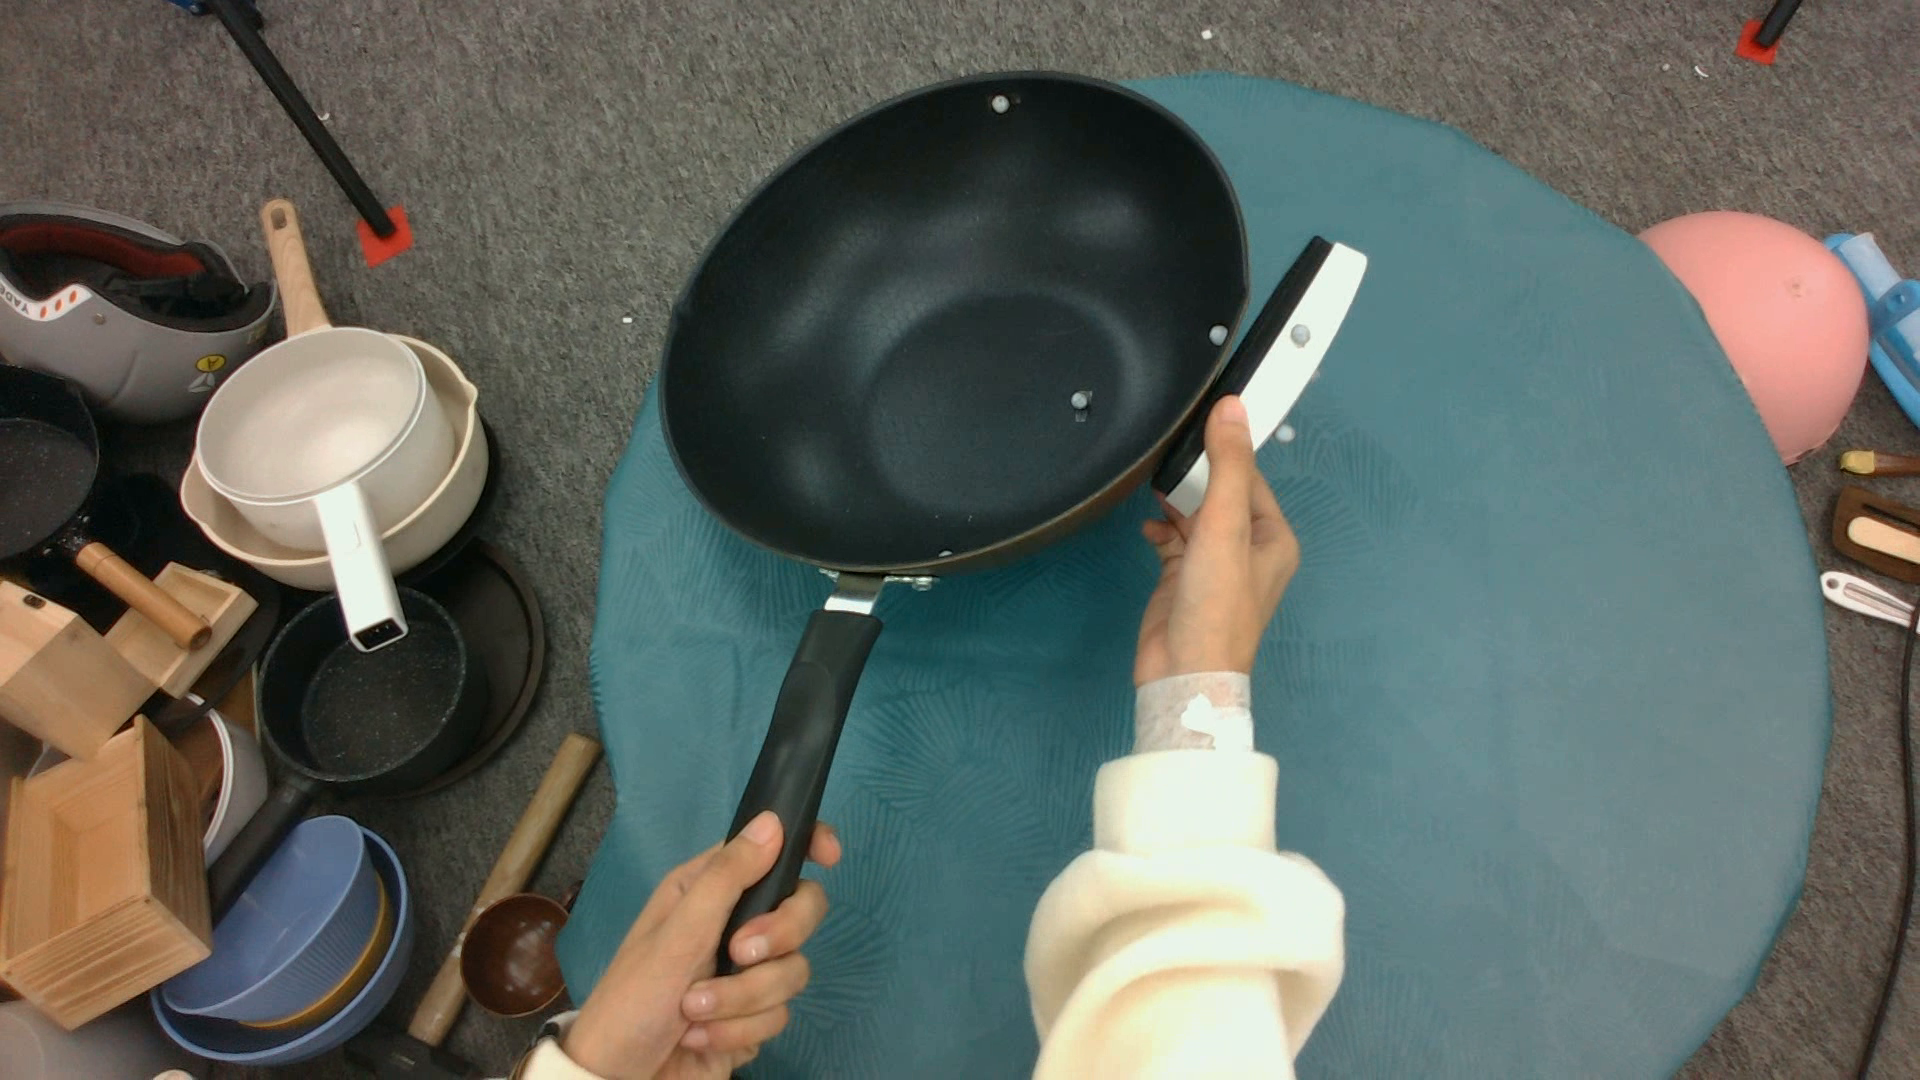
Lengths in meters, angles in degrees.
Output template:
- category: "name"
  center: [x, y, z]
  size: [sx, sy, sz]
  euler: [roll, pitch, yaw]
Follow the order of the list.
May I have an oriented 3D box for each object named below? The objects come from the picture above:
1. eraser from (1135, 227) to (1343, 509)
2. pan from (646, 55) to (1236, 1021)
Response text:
- category: "eraser"
  center: [0.125, -0.075, 0.603]
  size: [0.034, 0.063, 0.131]
  euler: [33, 76, 5]
- category: "pan"
  center: [-0.028, -0.017, 0.618]
  size: [0.287, 0.086, 0.465]
  euler: [4, 64, 24]
